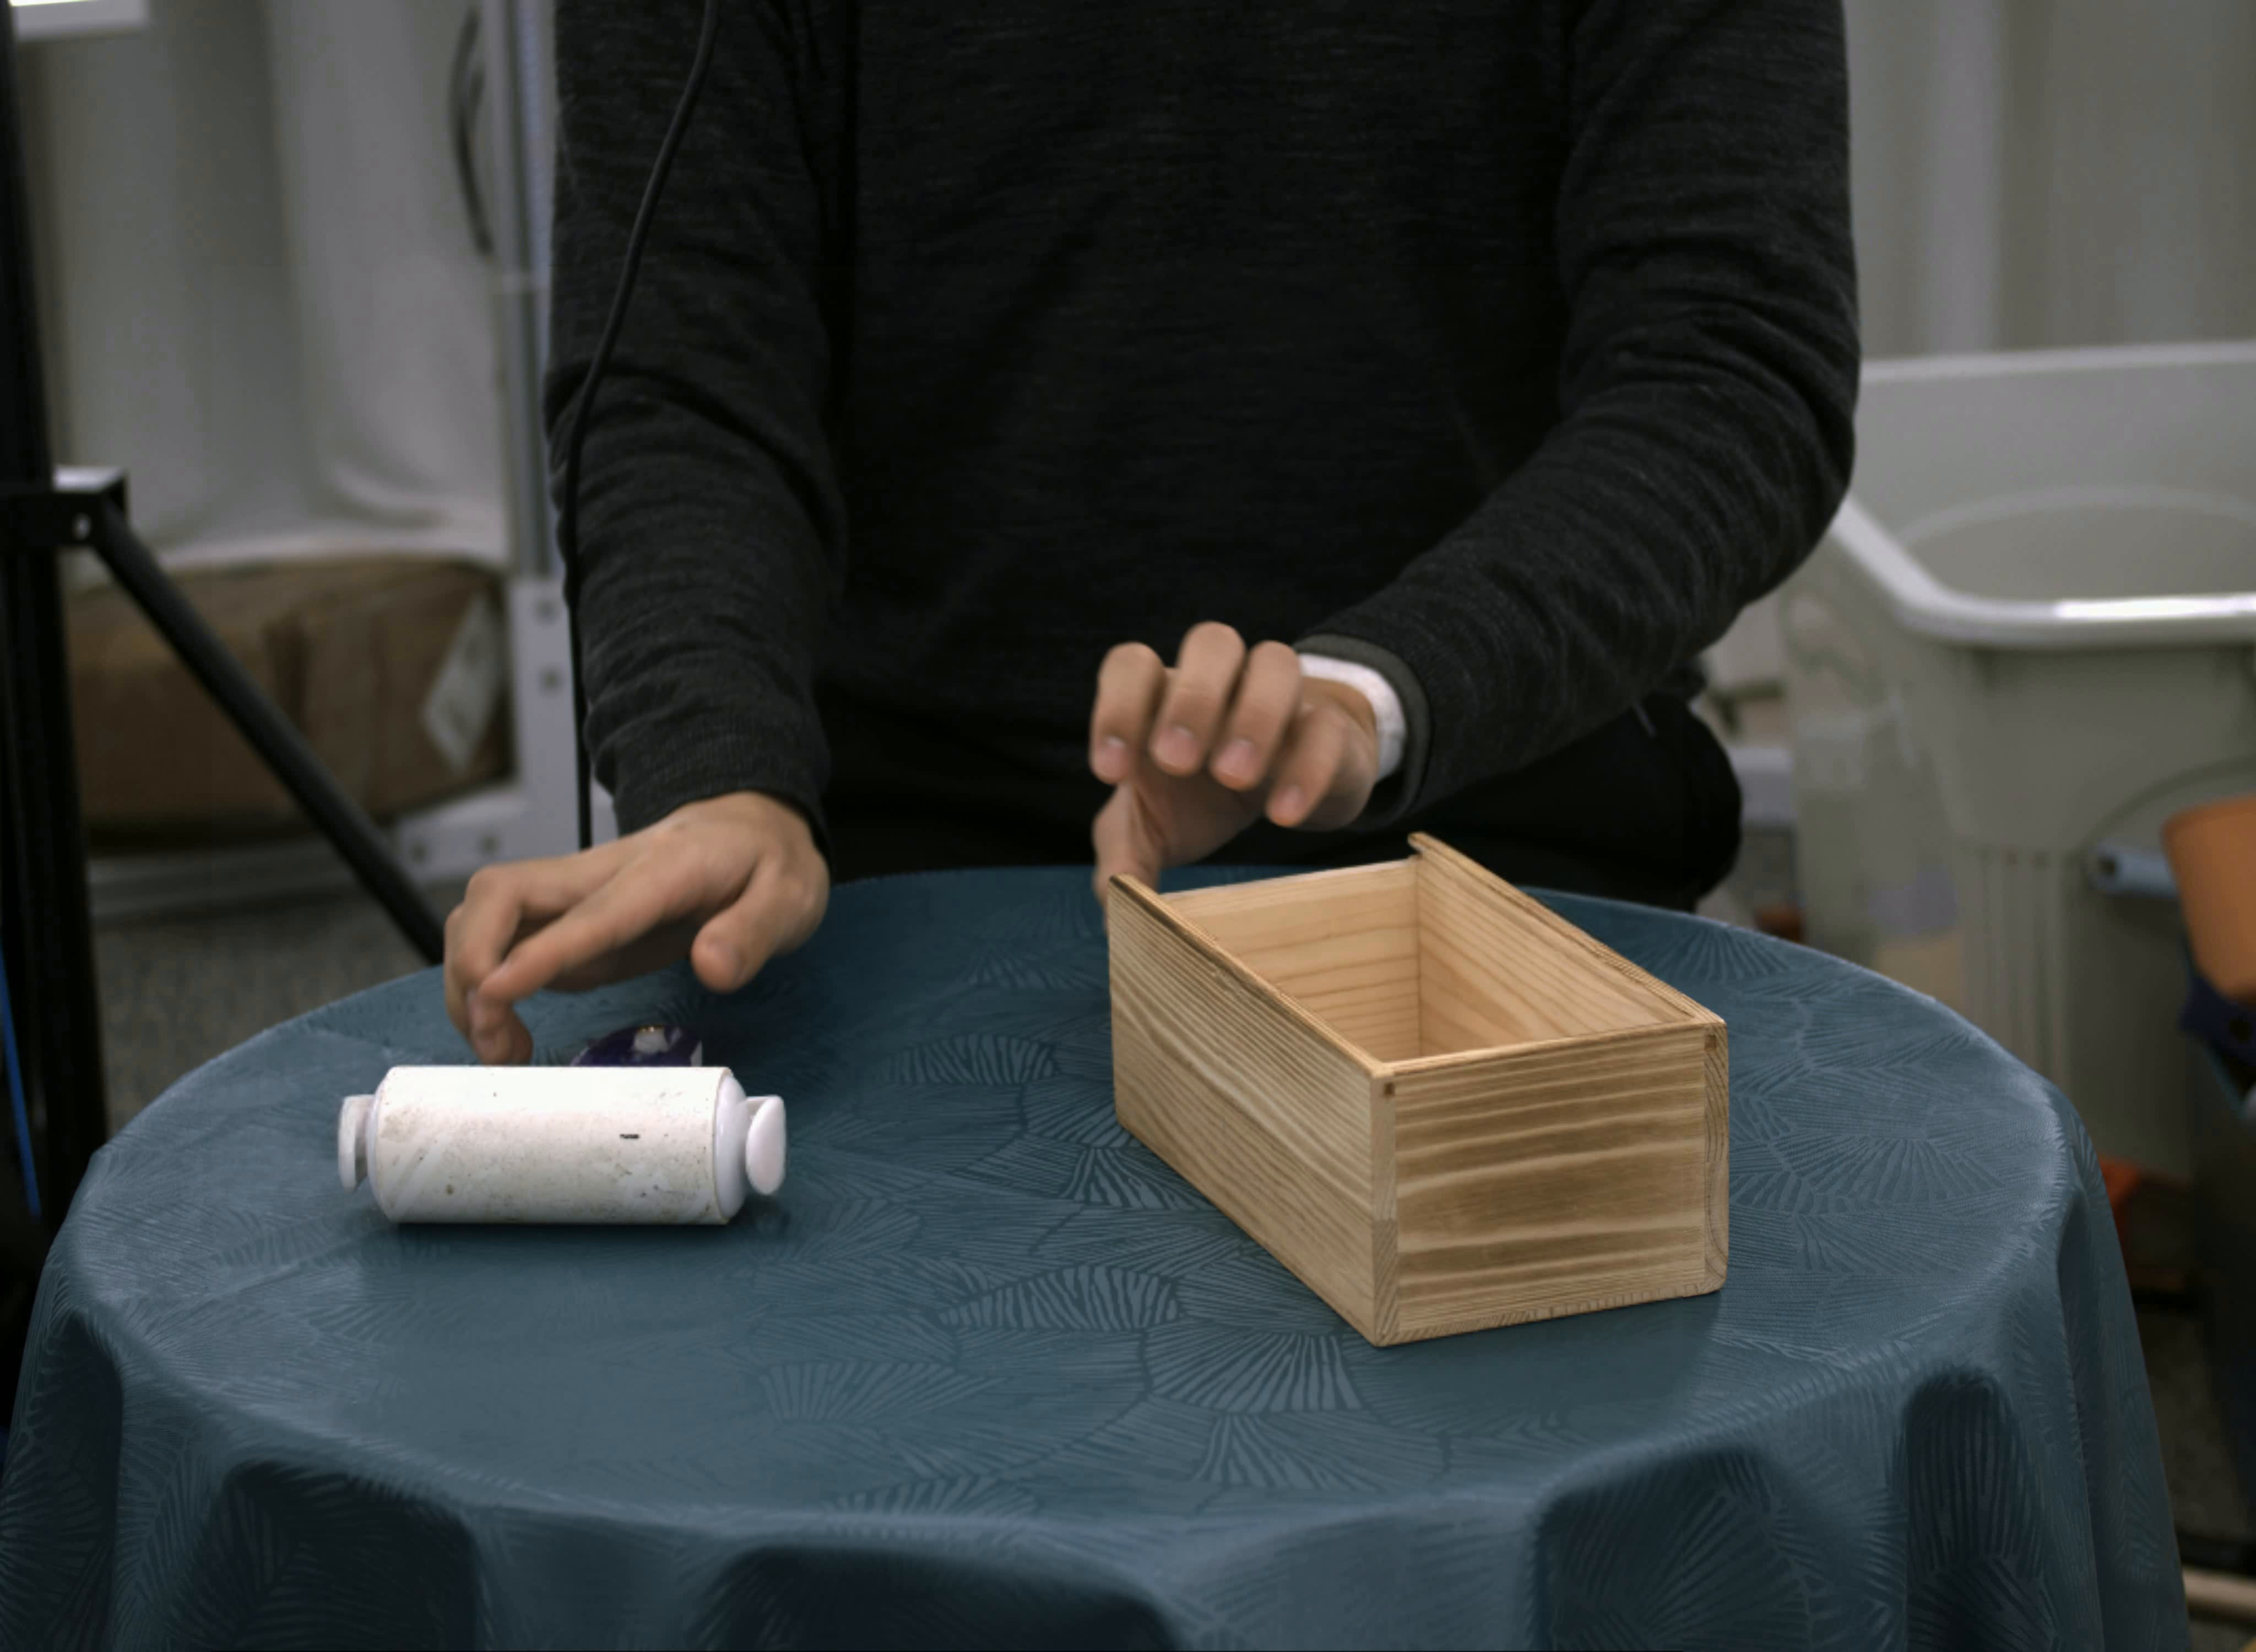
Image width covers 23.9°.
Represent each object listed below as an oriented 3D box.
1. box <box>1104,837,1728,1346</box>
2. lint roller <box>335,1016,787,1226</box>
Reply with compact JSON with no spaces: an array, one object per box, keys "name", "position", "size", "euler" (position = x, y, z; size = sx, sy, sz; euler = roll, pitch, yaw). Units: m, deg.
[{"name":"box","position":[0.079,0.072,1.525],"size":[0.105,0.080,0.215],"euler":[-8,16,-18]},{"name":"lint roller","position":[-0.157,0.074,1.616],"size":[0.133,0.050,0.180],"euler":[-1,18,9]}]
